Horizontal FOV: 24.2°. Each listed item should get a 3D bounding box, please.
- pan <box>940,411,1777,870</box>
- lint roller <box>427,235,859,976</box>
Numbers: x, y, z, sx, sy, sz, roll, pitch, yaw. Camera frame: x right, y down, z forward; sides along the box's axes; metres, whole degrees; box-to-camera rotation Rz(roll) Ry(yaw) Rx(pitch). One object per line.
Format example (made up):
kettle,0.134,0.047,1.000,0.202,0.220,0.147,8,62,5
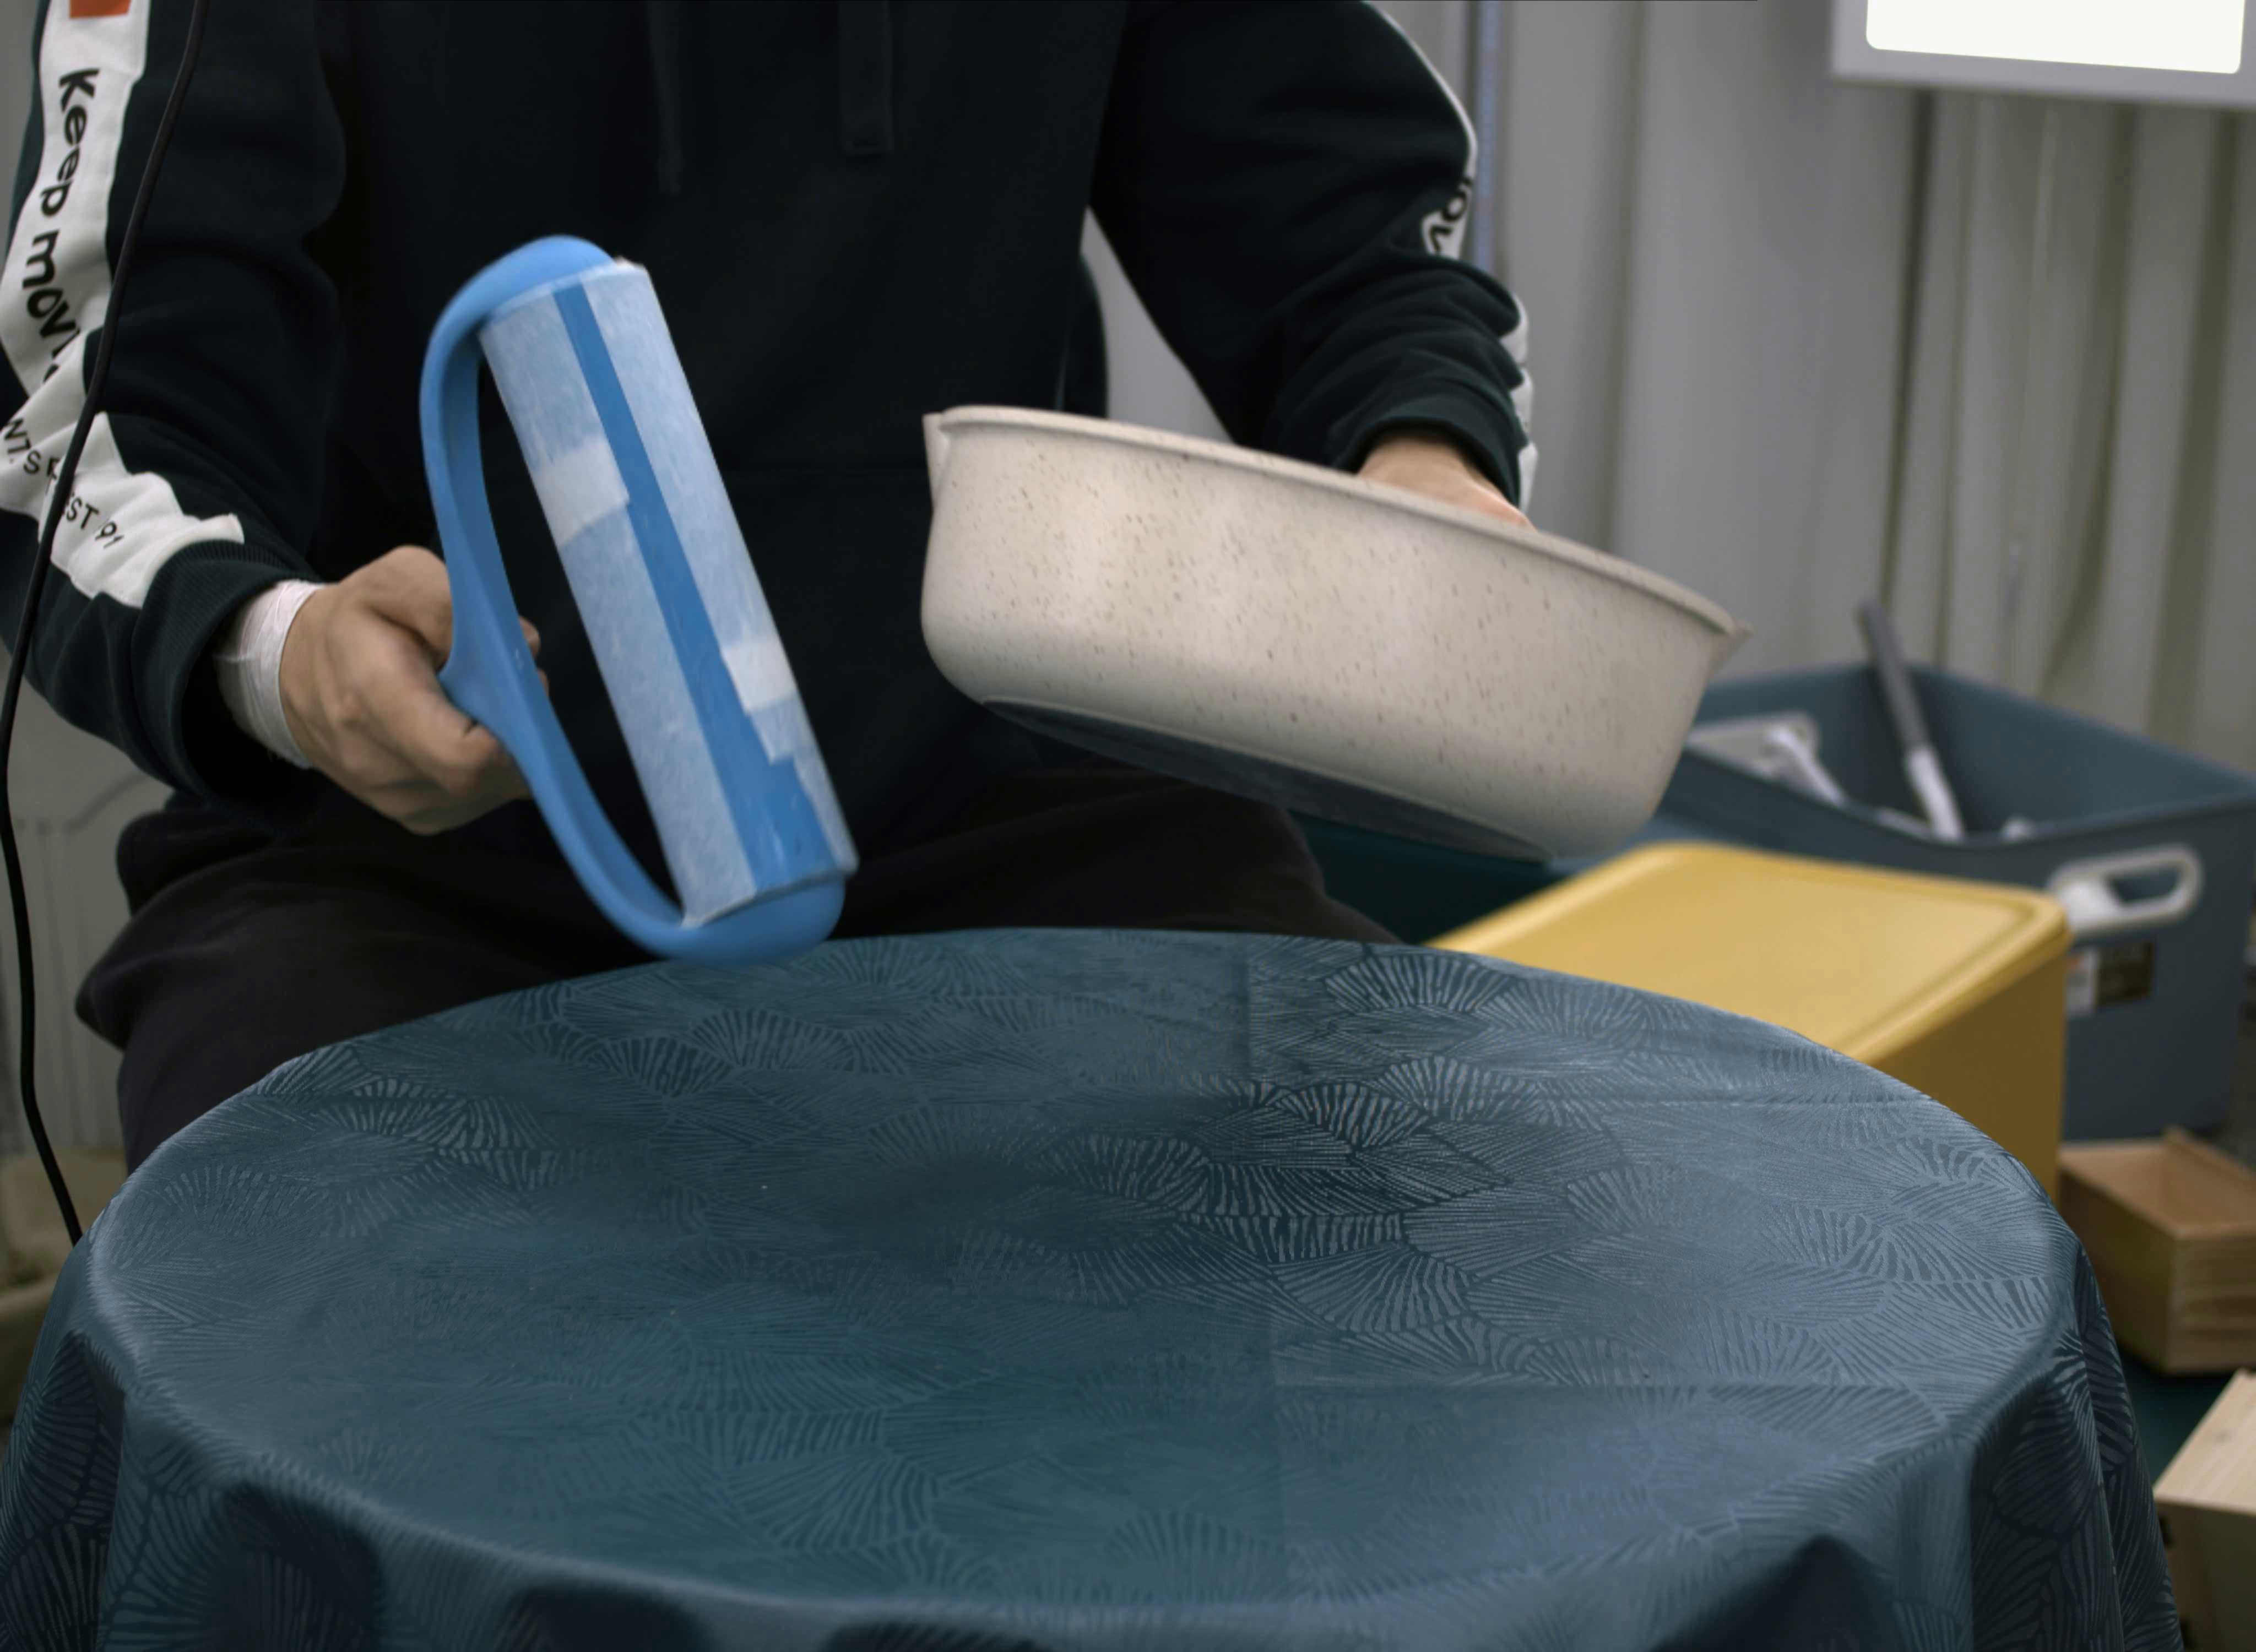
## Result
pan,0.073,-0.049,1.686,0.262,0.102,0.436,14,-4,8
lint roller,-0.174,-0.047,1.605,0.068,0.229,0.179,-18,-6,-44
